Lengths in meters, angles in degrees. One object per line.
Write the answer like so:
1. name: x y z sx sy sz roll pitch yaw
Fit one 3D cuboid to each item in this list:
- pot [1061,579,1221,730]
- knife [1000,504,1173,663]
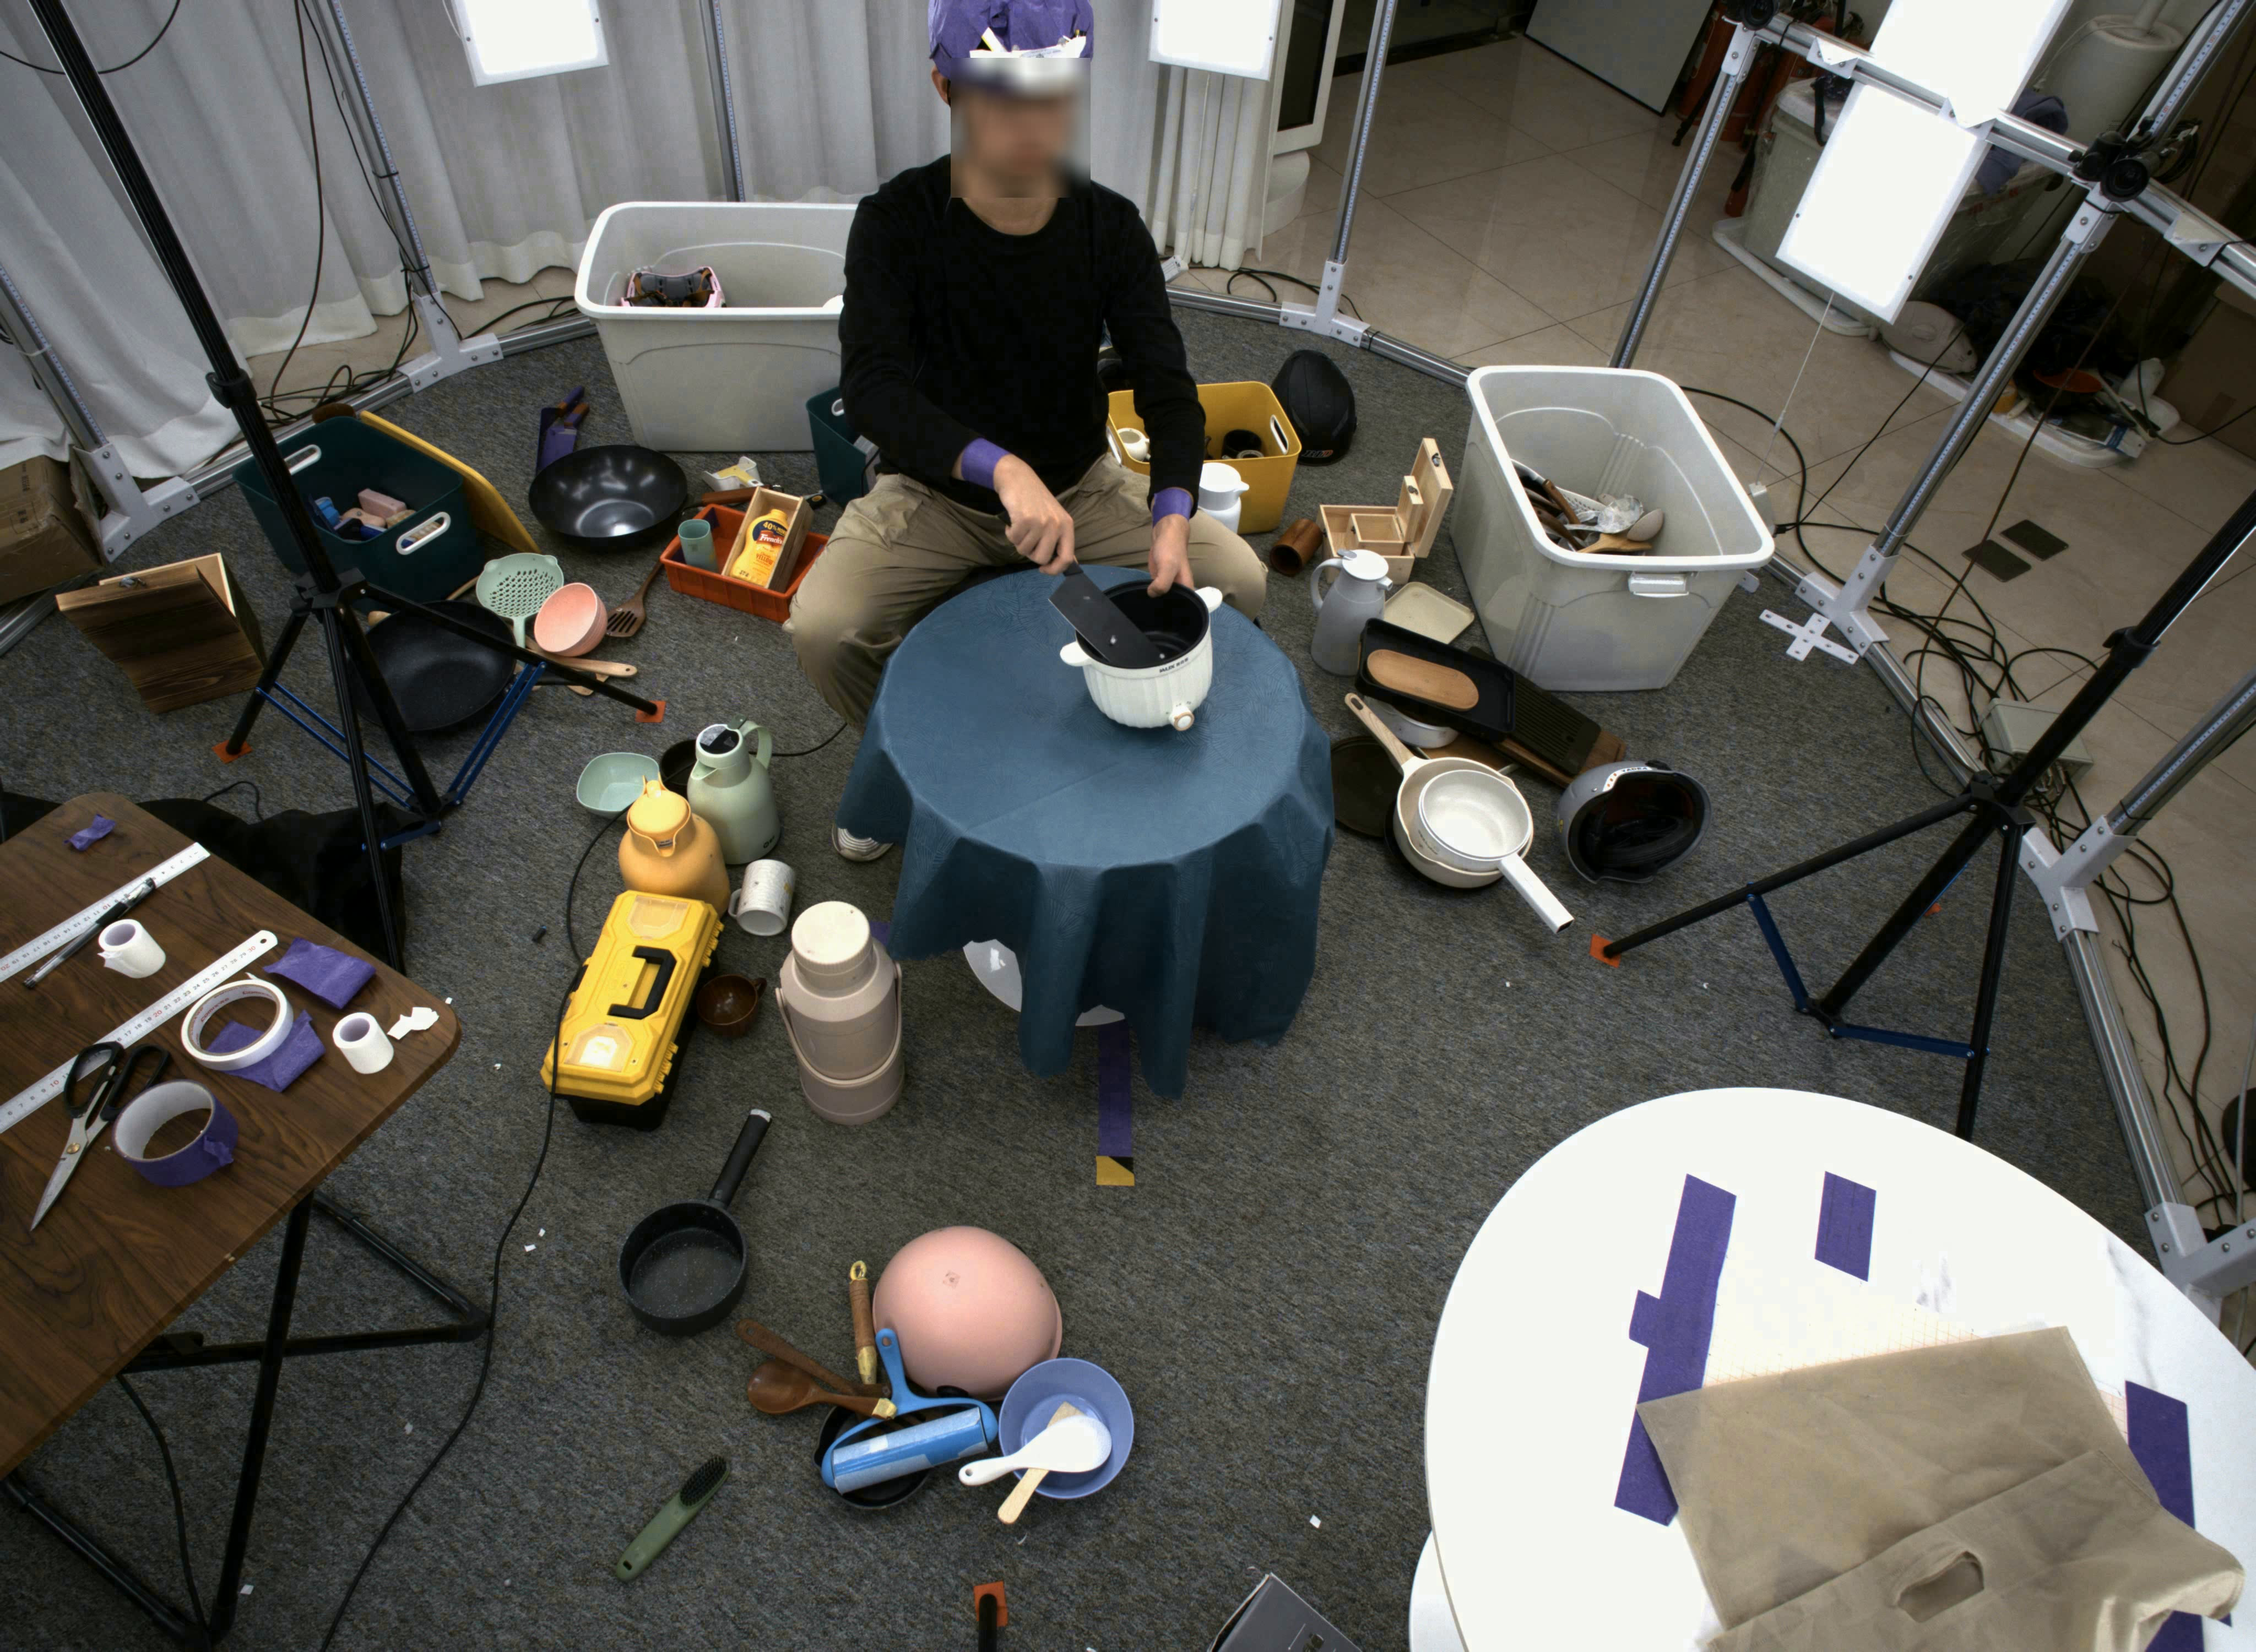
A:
1. pot: 0.030 -0.228 1.766 0.241 0.139 0.195 -26 45 -12
2. knife: -0.058 -0.310 1.717 0.300 0.021 0.082 47 66 -11
